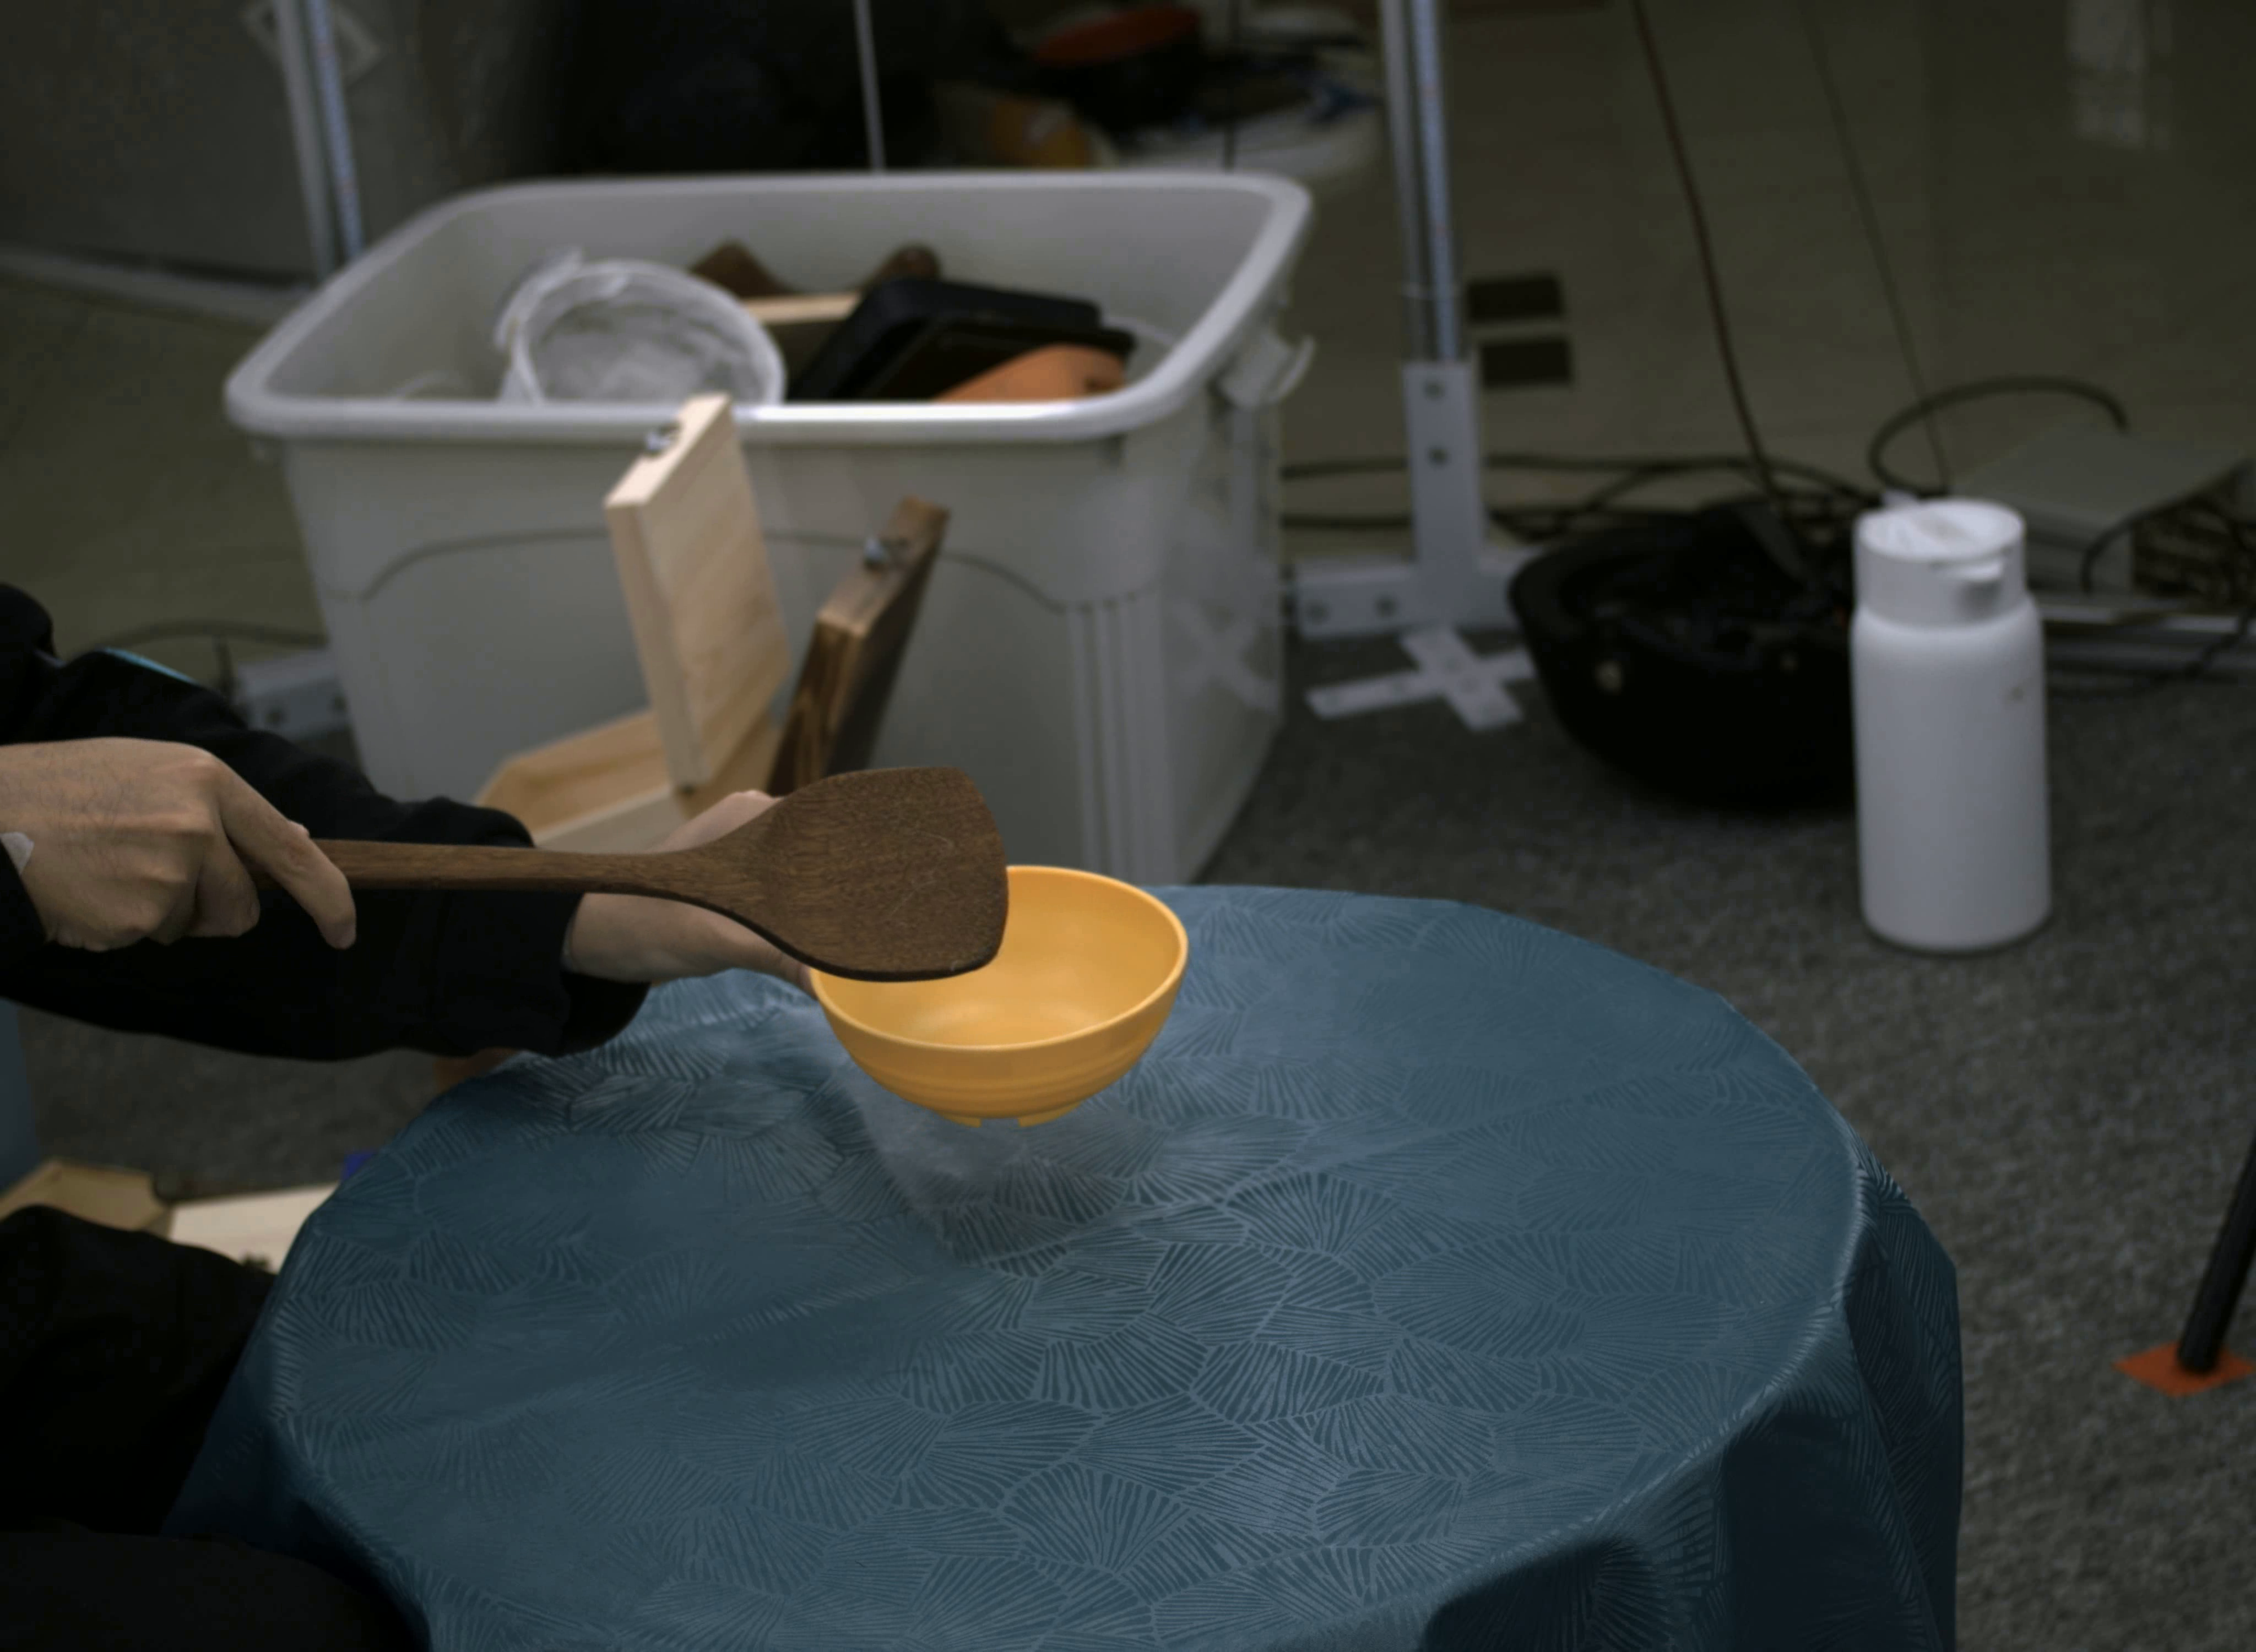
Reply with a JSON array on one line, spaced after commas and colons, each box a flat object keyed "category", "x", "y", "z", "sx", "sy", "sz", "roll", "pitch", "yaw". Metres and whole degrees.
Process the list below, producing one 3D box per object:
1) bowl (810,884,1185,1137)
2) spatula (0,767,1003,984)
[{"category": "bowl", "x": -0.047, "y": 0.078, "z": 2.166, "sx": 0.145, "sy": 0.061, "sz": 0.143, "roll": -4, "pitch": 25, "yaw": 2}, {"category": "spatula", "x": -0.233, "y": 0.015, "z": 2.019, "sx": 0.385, "sy": 0.016, "sz": 0.094, "roll": 1, "pitch": 55, "yaw": -14}]
